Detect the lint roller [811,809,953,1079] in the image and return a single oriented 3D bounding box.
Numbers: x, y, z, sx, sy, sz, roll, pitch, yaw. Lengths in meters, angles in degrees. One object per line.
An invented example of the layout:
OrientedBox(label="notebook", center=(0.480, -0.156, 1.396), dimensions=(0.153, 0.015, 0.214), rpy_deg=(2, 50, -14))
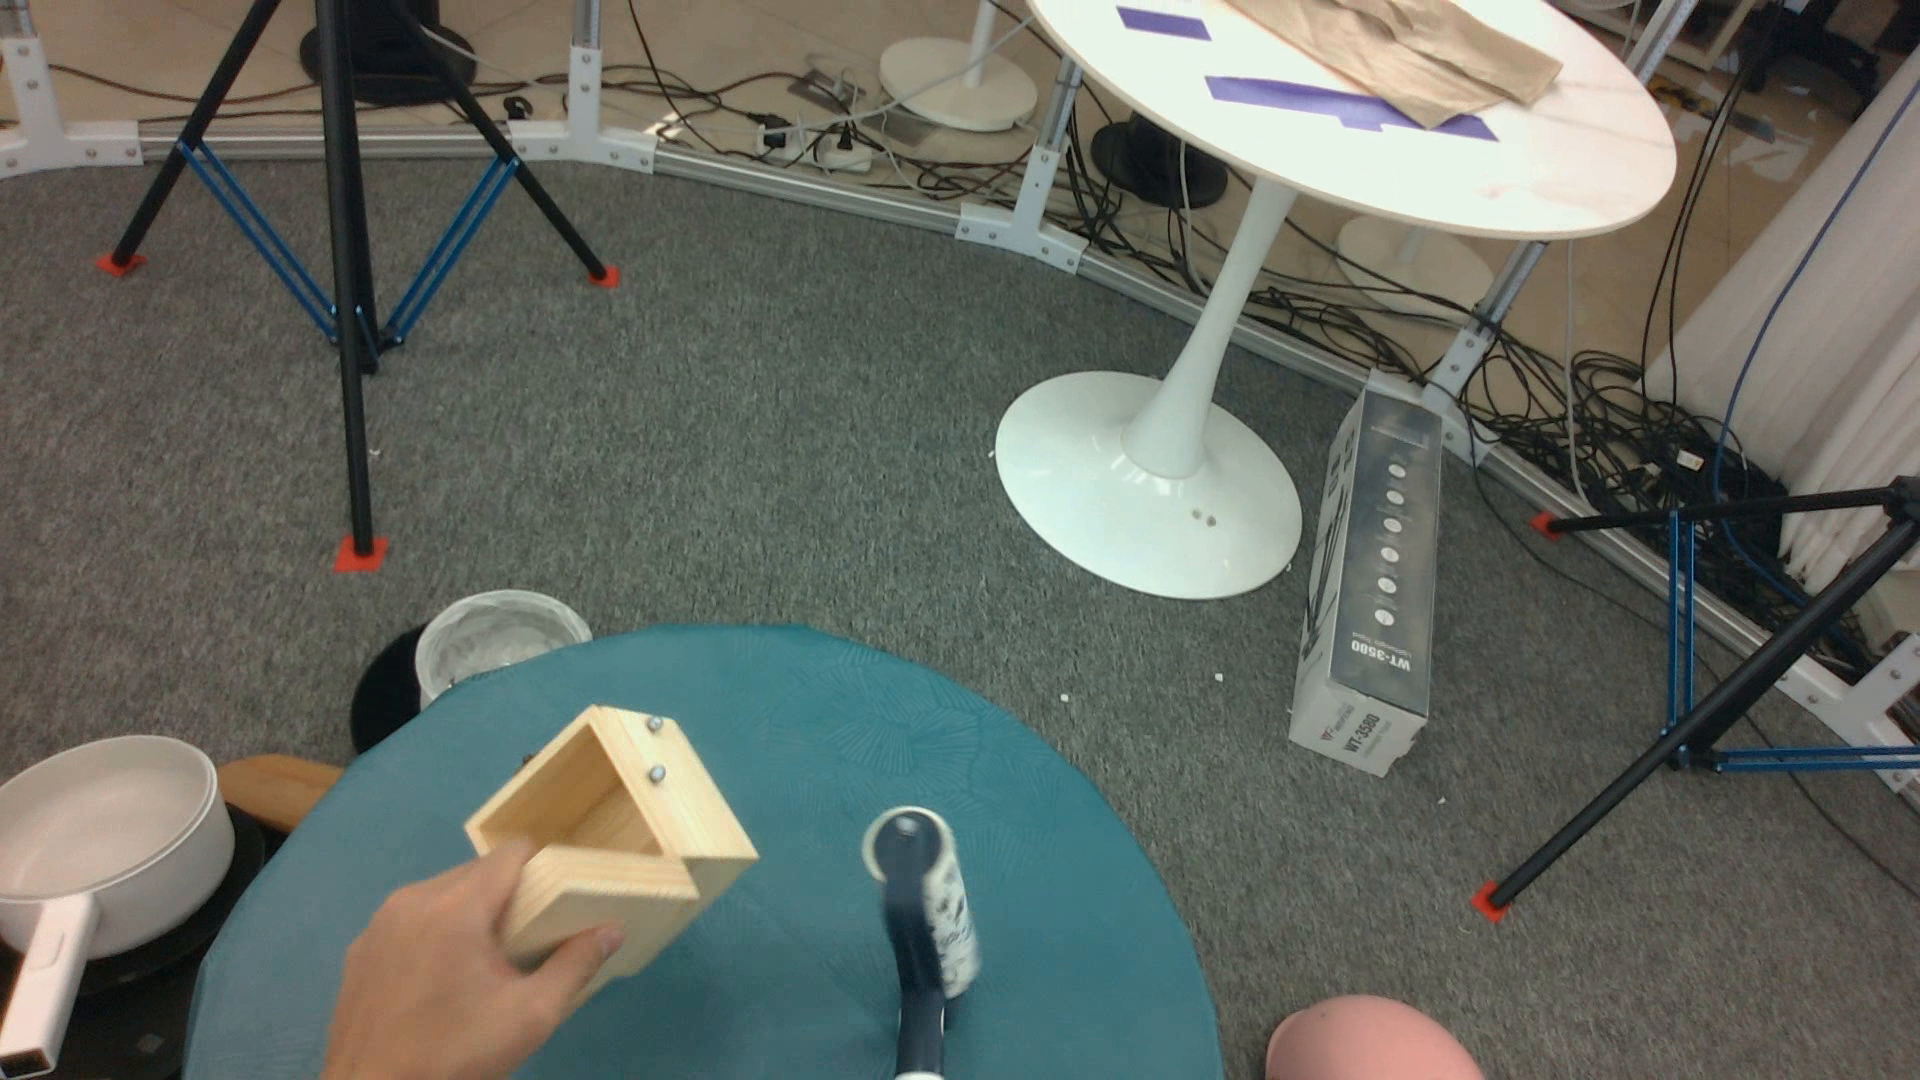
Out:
OrientedBox(label="lint roller", center=(-0.058, 0.283, 0.712), dimensions=(0.050, 0.175, 0.248), rpy_deg=(11, 37, 13))

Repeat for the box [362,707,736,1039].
OrientedBox(label="box", center=(-0.218, 0.161, 0.701), dimensions=(0.134, 0.102, 0.184), rpy_deg=(50, 11, 25))
